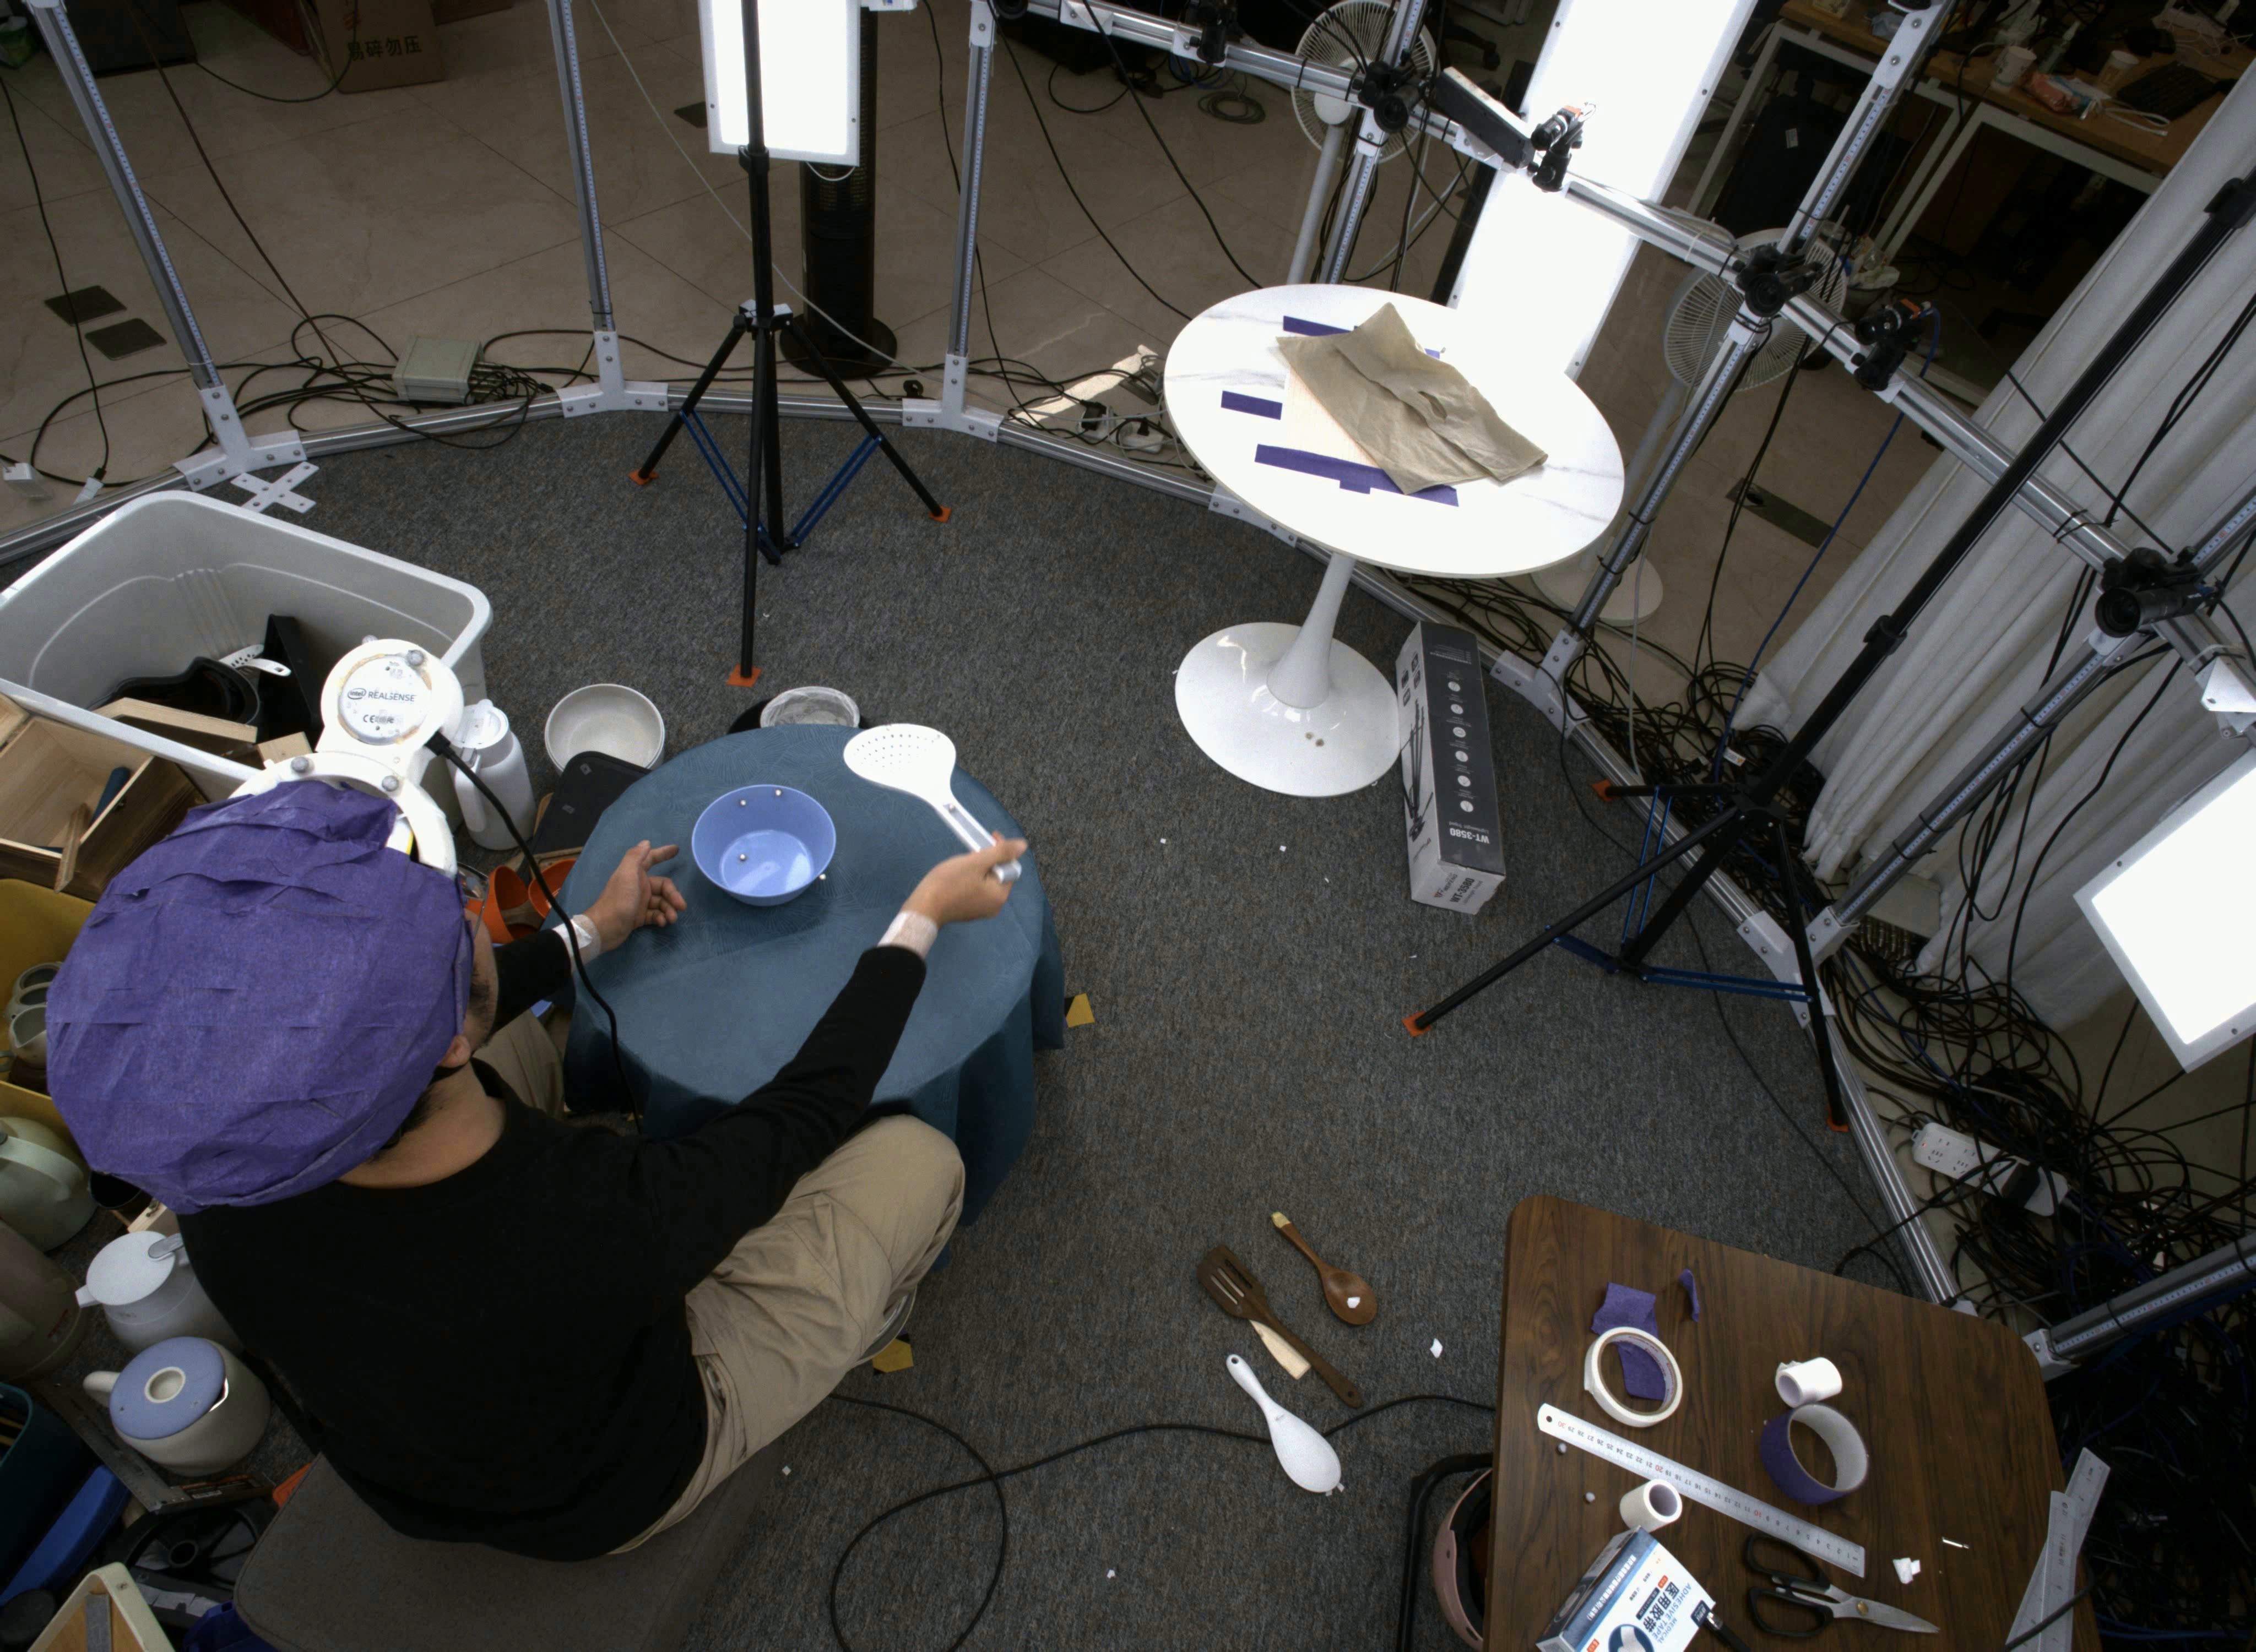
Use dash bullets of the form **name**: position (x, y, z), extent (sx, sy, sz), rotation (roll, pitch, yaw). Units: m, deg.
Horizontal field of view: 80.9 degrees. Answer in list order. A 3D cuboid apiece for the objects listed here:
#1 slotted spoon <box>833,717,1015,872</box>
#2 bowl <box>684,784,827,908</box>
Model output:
- **slotted spoon**: position (-0.232, -0.042, 1.536), extent (0.137, 0.047, 0.336), rotation (-19, 37, -32)
- **bowl**: position (-0.468, 0.035, 1.635), extent (0.175, 0.072, 0.173), rotation (7, 53, -8)
